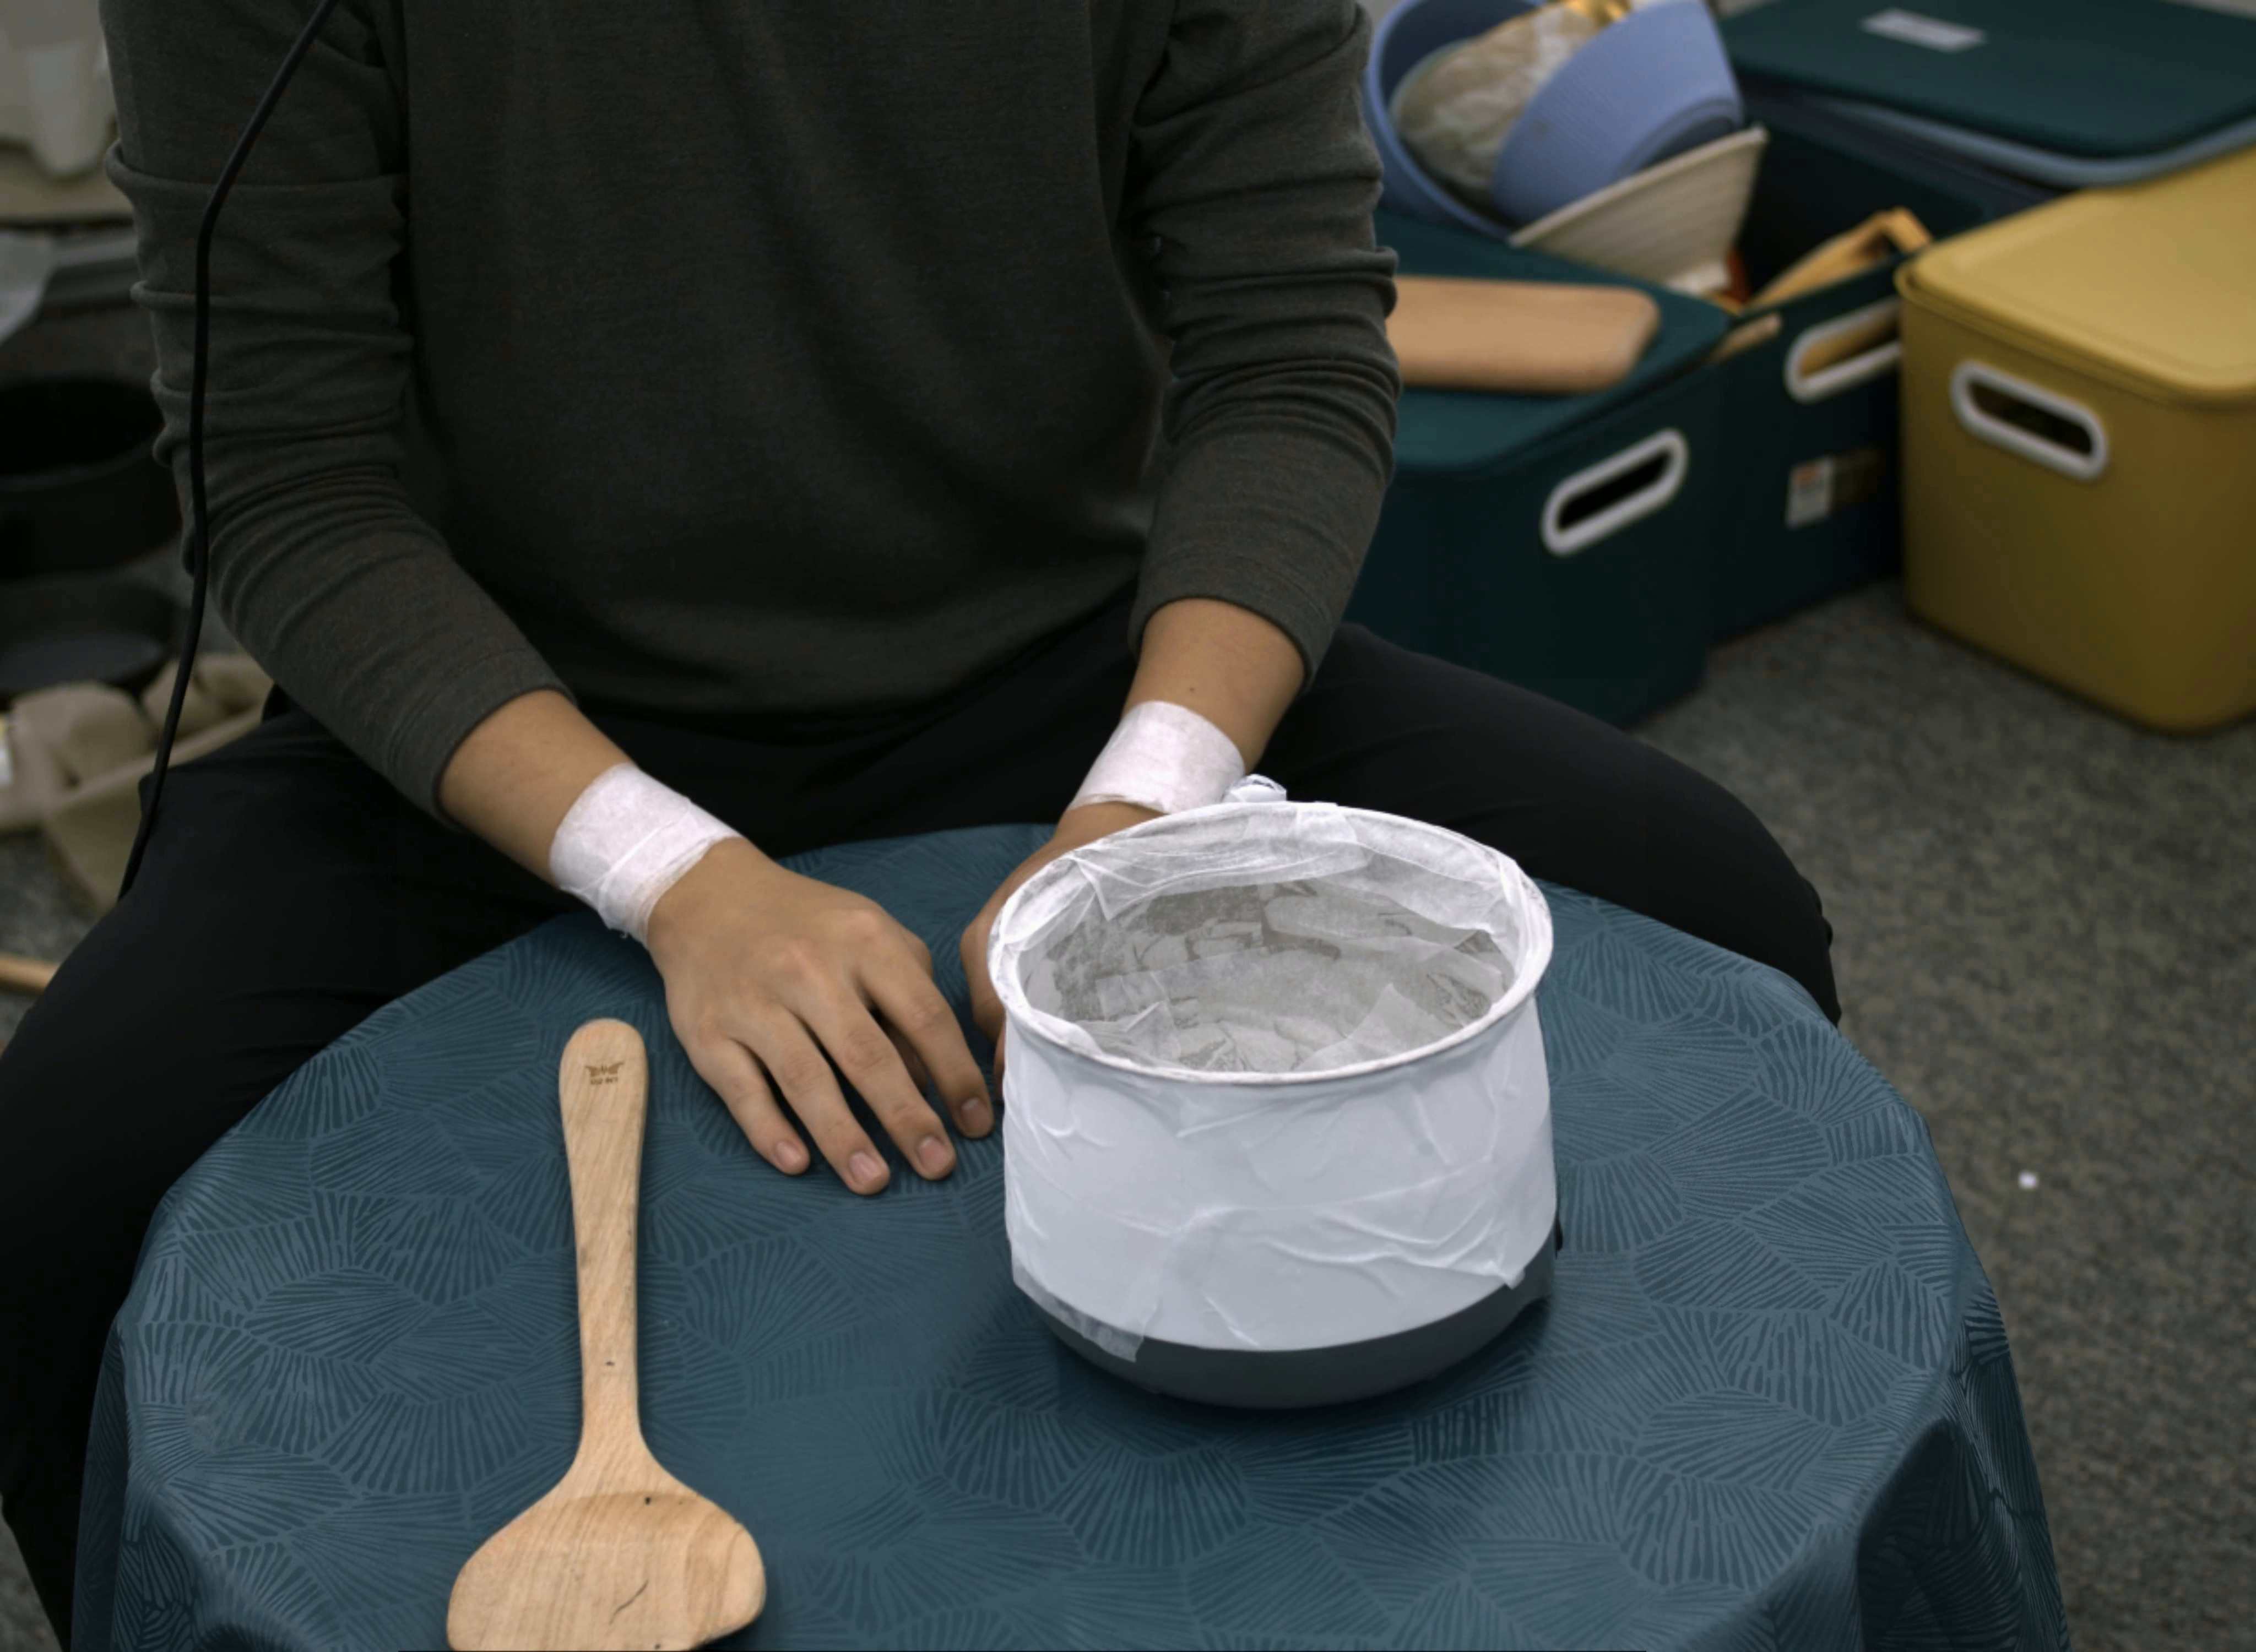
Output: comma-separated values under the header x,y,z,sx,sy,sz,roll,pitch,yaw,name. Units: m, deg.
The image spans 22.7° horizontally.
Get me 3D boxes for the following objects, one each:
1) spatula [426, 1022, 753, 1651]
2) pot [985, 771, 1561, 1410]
x,y,z,sx,sy,sz,roll,pitch,yaw,name
-0.172,0.157,1.790,0.095,0.018,0.396,-3,27,-4,spatula
0.046,0.077,1.797,0.178,0.135,0.237,-3,27,-1,pot
